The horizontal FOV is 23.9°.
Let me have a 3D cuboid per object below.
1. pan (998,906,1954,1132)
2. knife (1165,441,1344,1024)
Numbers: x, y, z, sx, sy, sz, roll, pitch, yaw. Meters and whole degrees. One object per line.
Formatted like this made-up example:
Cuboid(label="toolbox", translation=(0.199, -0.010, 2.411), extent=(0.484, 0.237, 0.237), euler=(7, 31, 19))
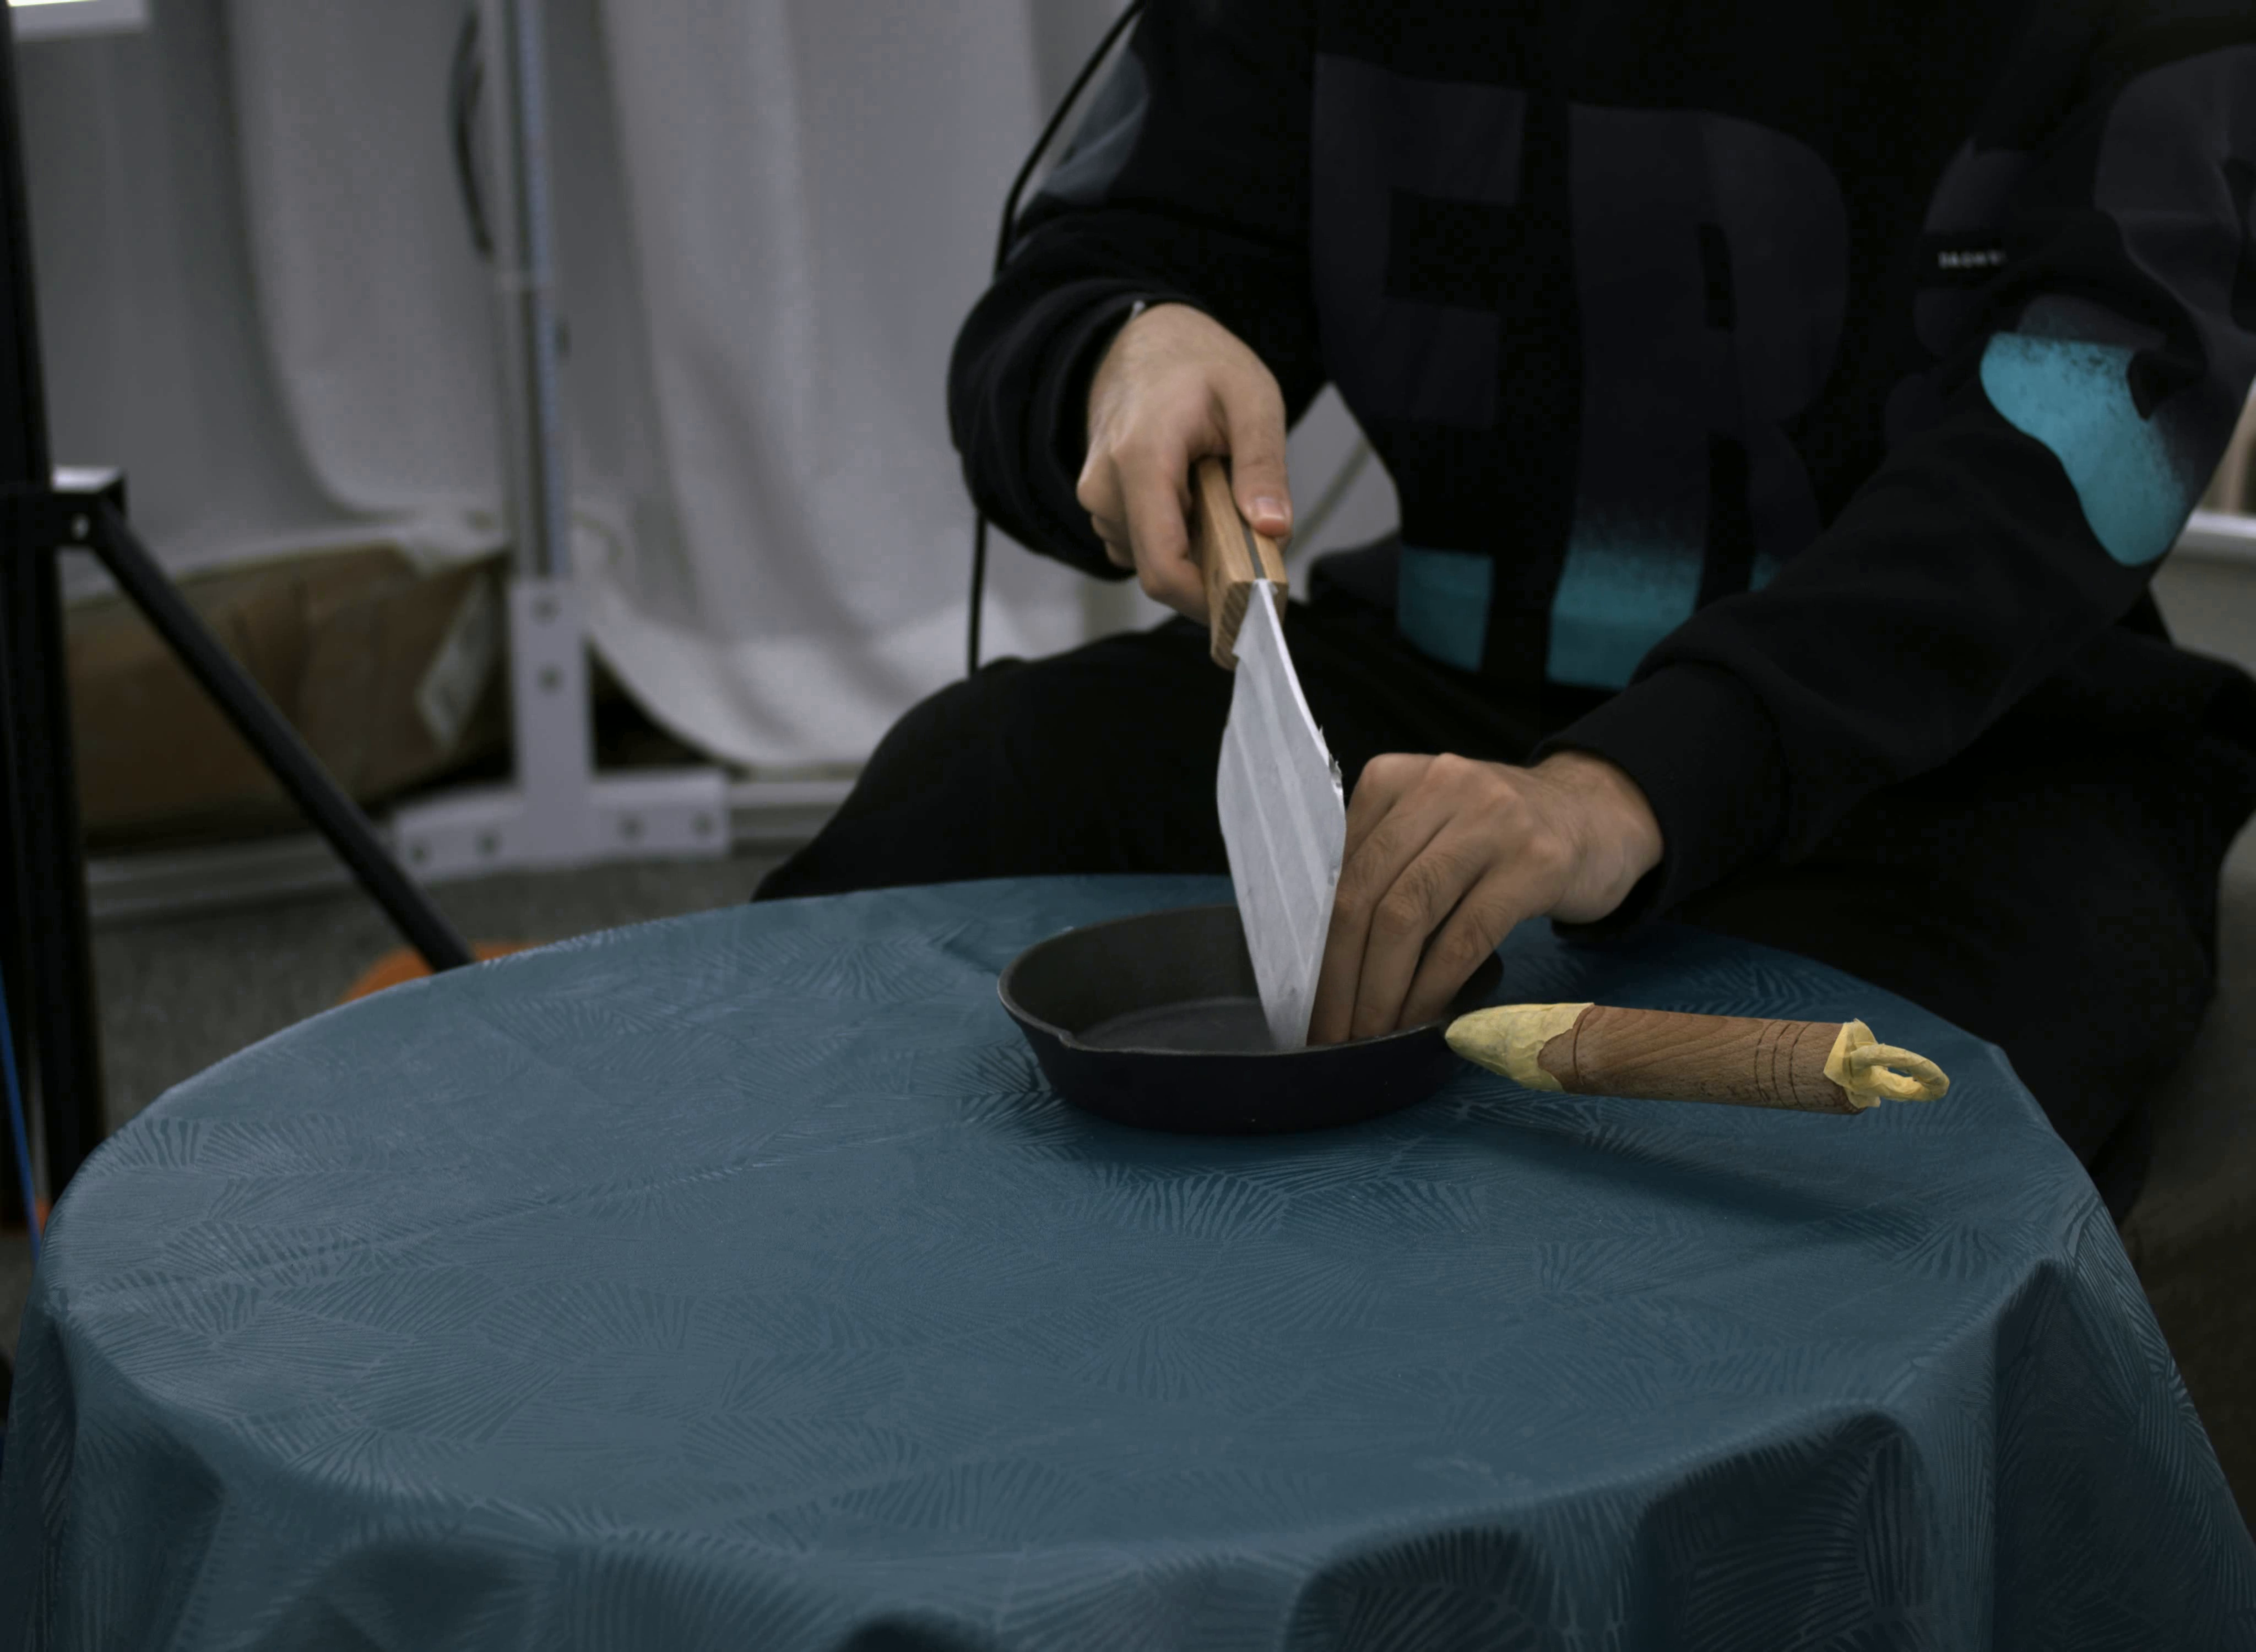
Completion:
Cuboid(label="pan", translation=(0.104, 0.066, 1.598), extent=(0.331, 0.049, 0.165), euler=(9, 19, 39))
Cuboid(label="knife", translation=(0.041, -0.039, 1.726), extent=(0.021, 0.114, 0.319), euler=(5, 32, -10))
